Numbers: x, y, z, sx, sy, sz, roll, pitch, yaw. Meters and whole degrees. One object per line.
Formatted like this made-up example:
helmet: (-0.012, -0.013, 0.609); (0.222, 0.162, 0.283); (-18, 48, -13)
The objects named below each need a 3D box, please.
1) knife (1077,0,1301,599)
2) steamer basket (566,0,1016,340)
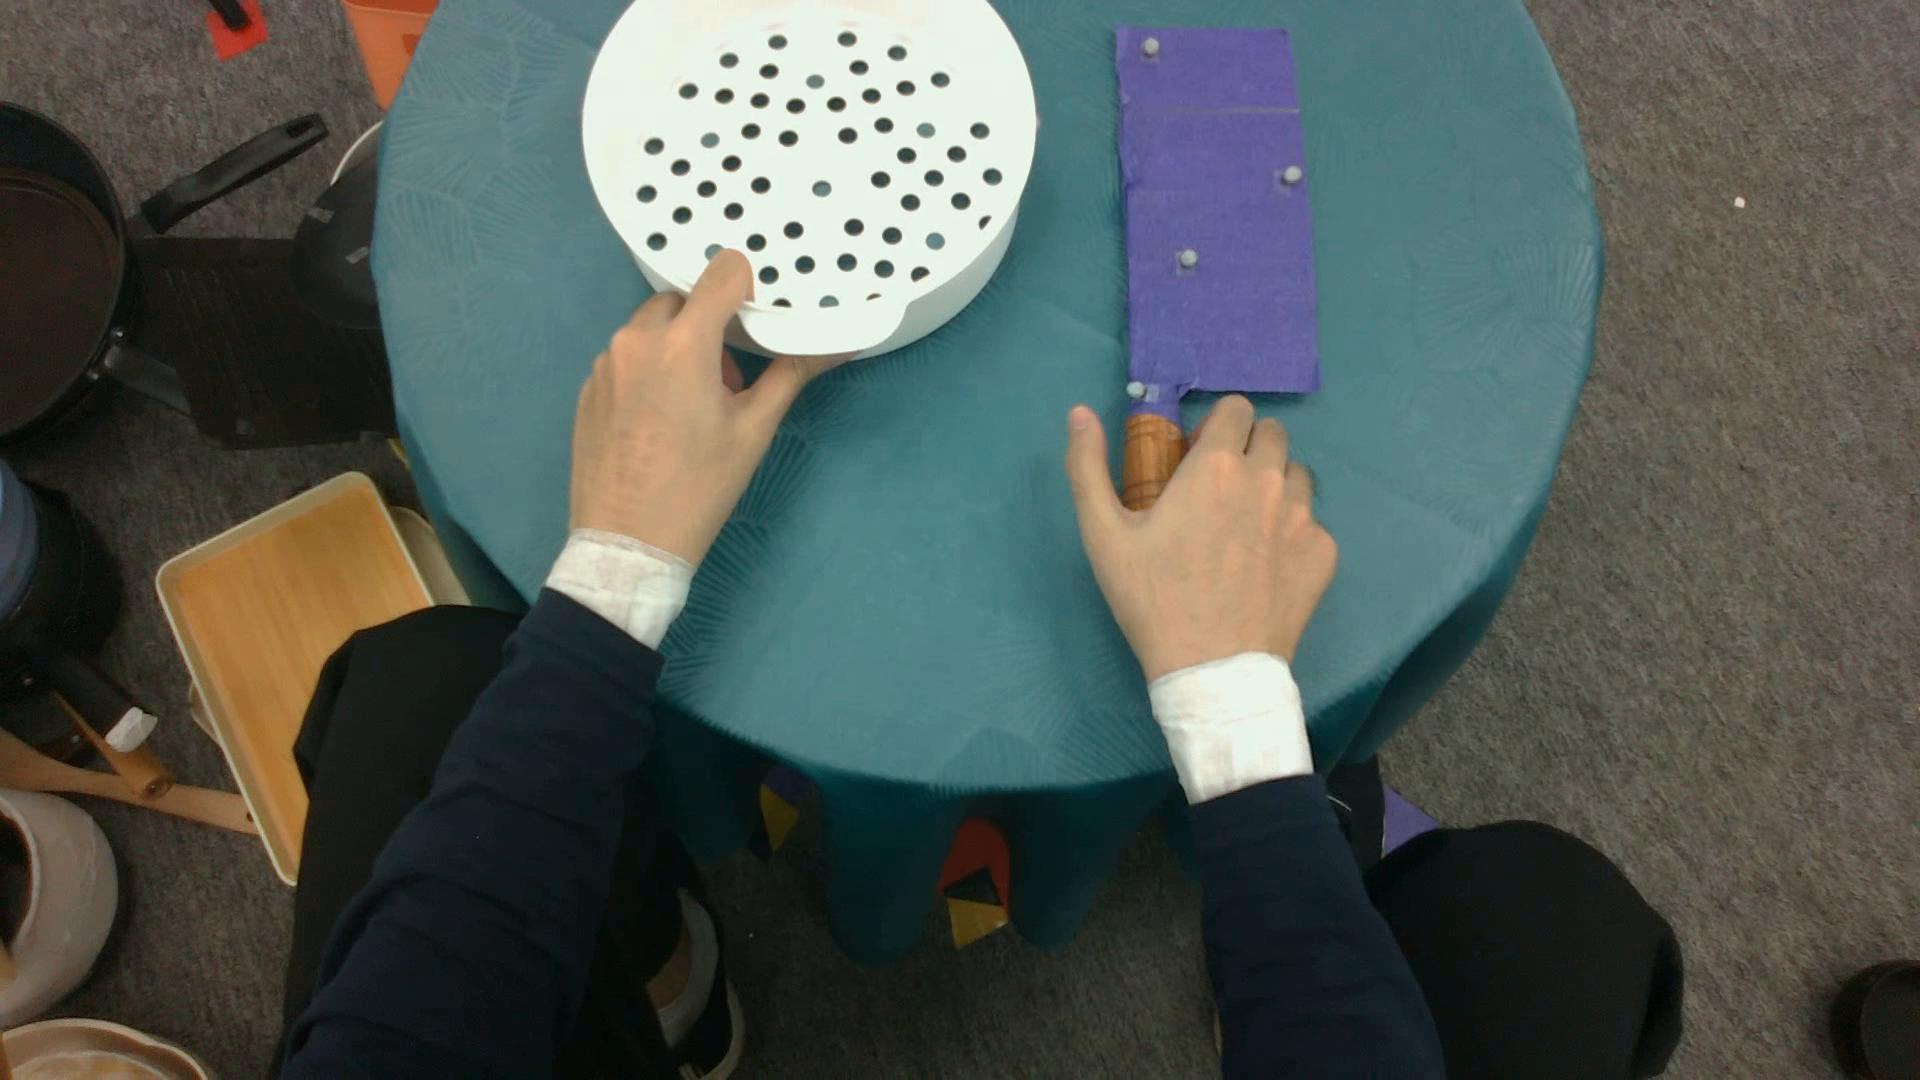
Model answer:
knife: (0.113, -0.127, 0.654); (0.104, 0.032, 0.316); (0, 72, -2)
steamer basket: (-0.076, -0.192, 0.644); (0.202, 0.069, 0.231); (-4, 75, -3)
